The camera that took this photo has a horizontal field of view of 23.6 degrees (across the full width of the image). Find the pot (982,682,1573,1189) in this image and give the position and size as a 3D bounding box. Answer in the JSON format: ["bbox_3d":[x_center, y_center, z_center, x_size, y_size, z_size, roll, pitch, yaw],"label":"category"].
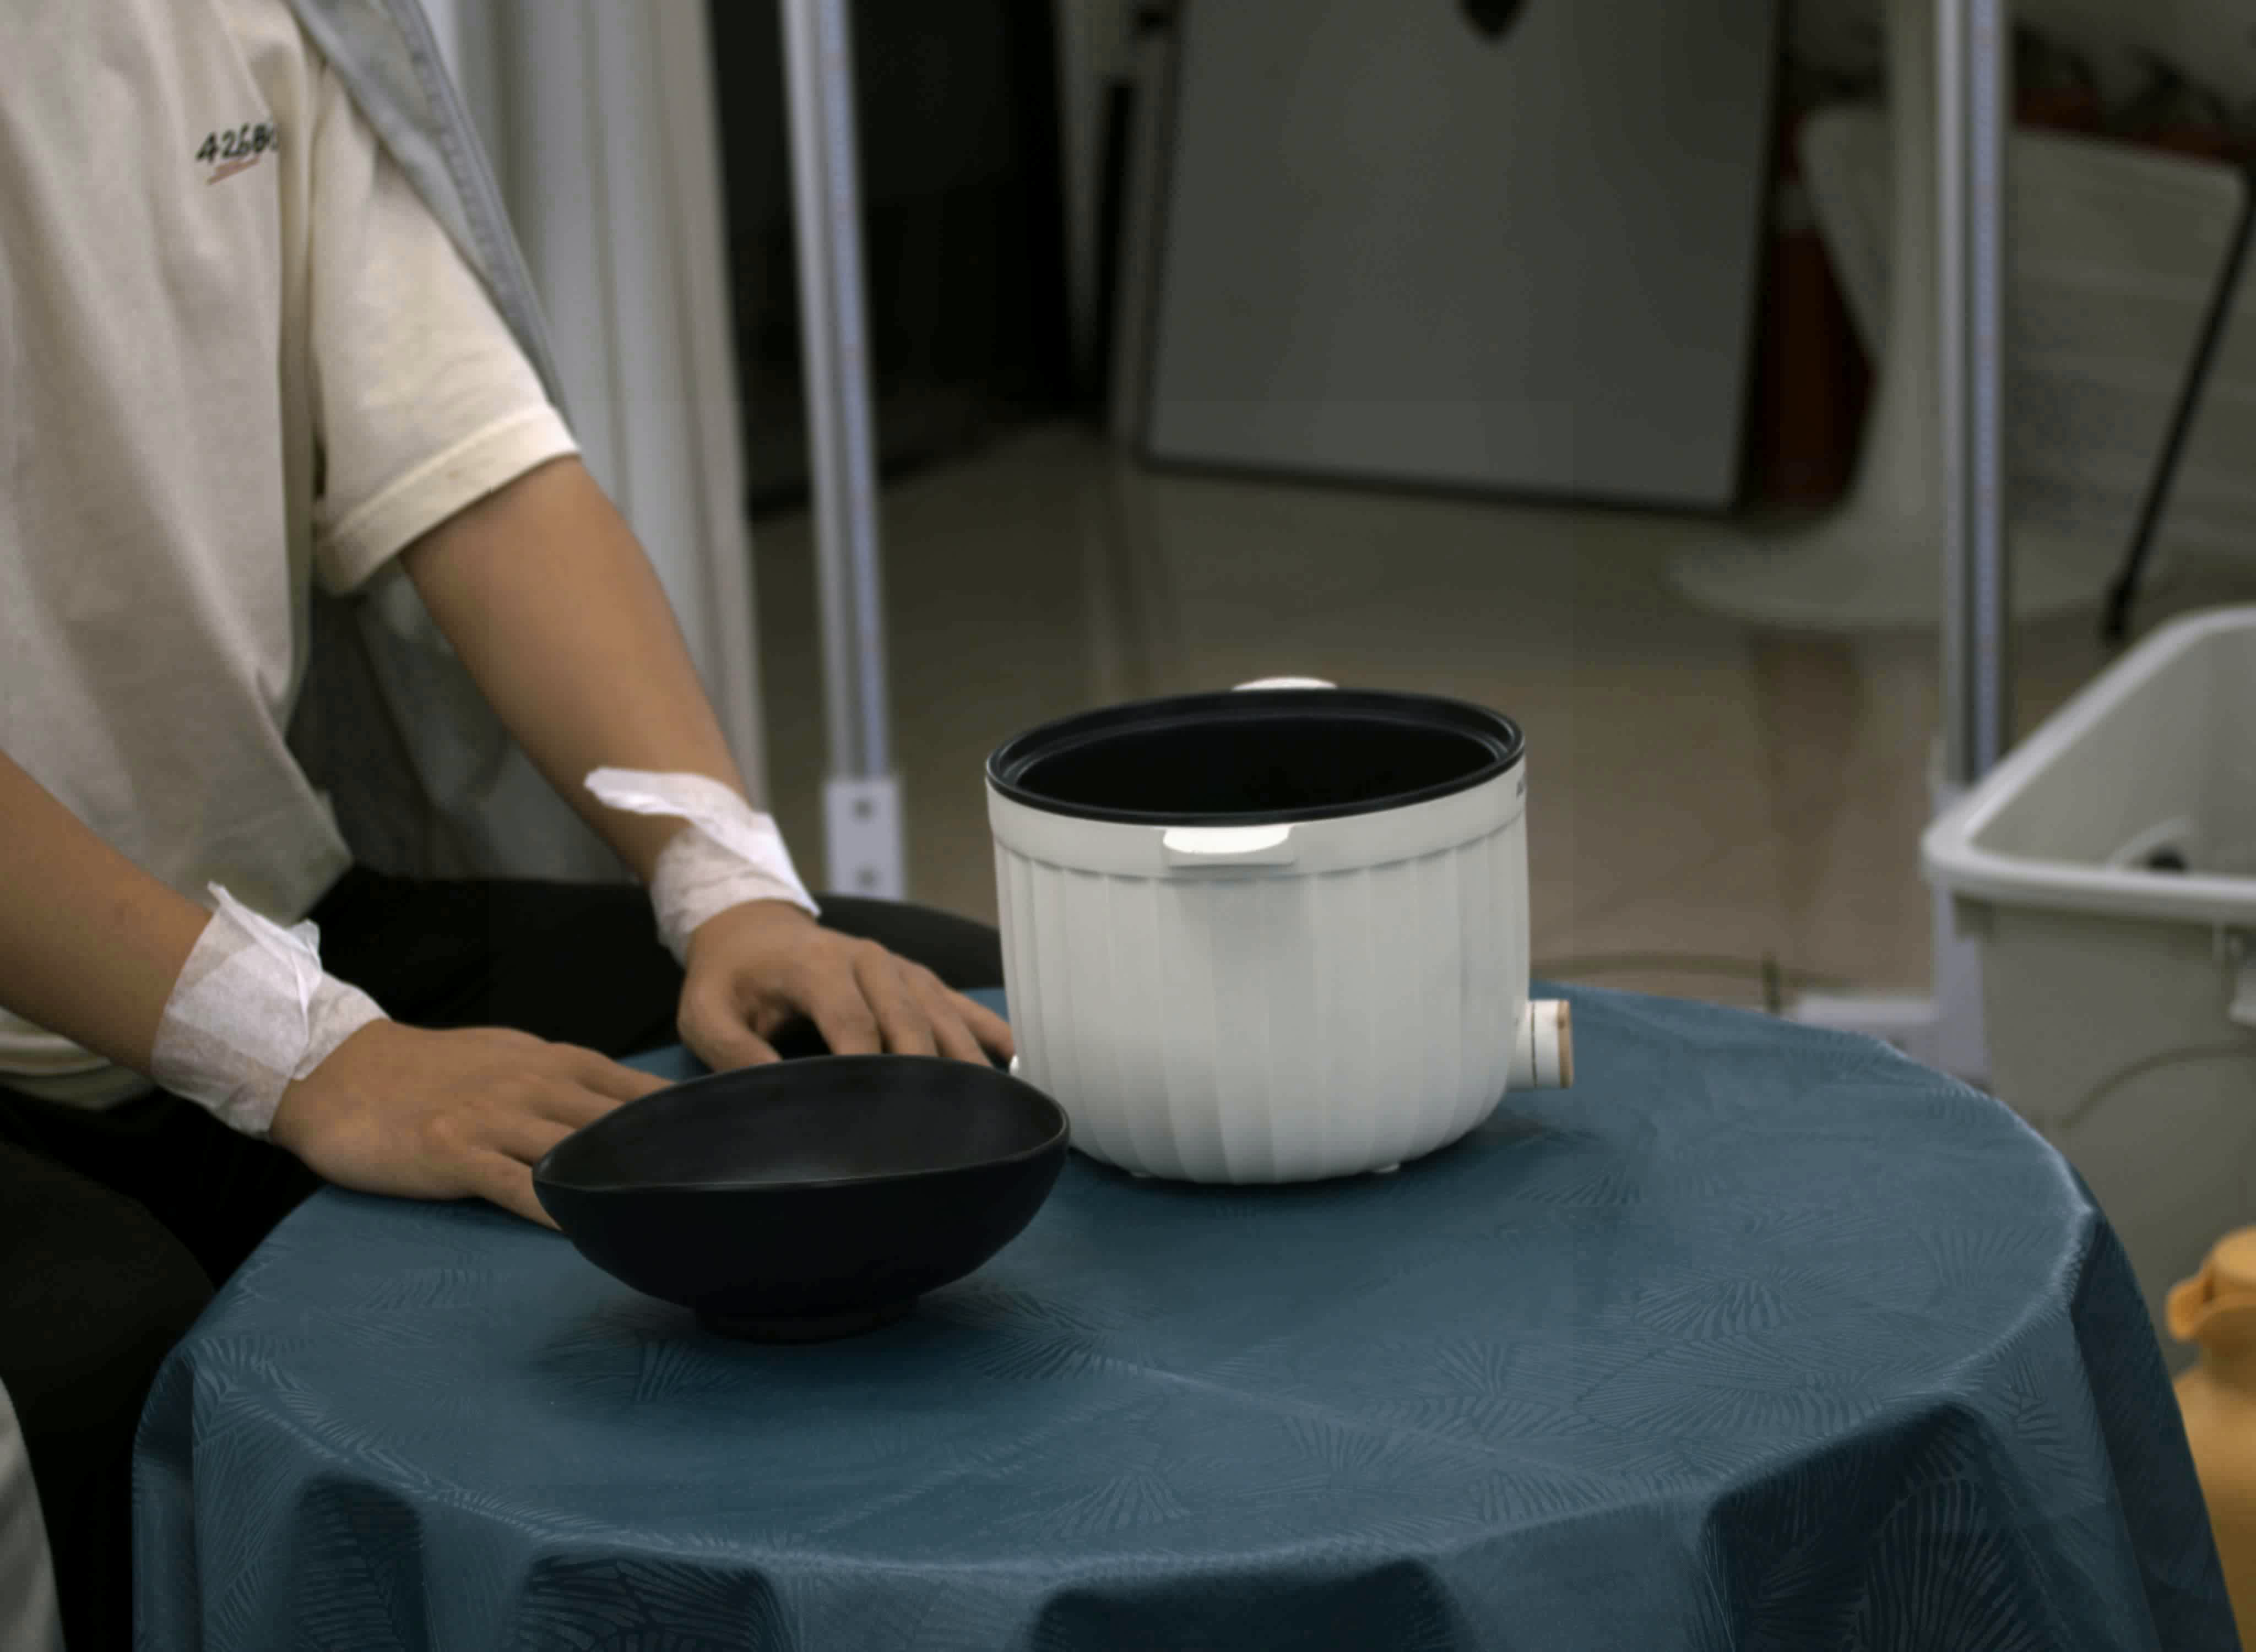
[{"bbox_3d":[0.051,0.038,1.808,0.189,0.144,0.240,-6,14,8],"label":"pot"}]

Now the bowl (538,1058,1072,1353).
[{"bbox_3d":[-0.099,0.122,1.669,0.169,0.067,0.137,-3,12,8],"label":"bowl"}]
